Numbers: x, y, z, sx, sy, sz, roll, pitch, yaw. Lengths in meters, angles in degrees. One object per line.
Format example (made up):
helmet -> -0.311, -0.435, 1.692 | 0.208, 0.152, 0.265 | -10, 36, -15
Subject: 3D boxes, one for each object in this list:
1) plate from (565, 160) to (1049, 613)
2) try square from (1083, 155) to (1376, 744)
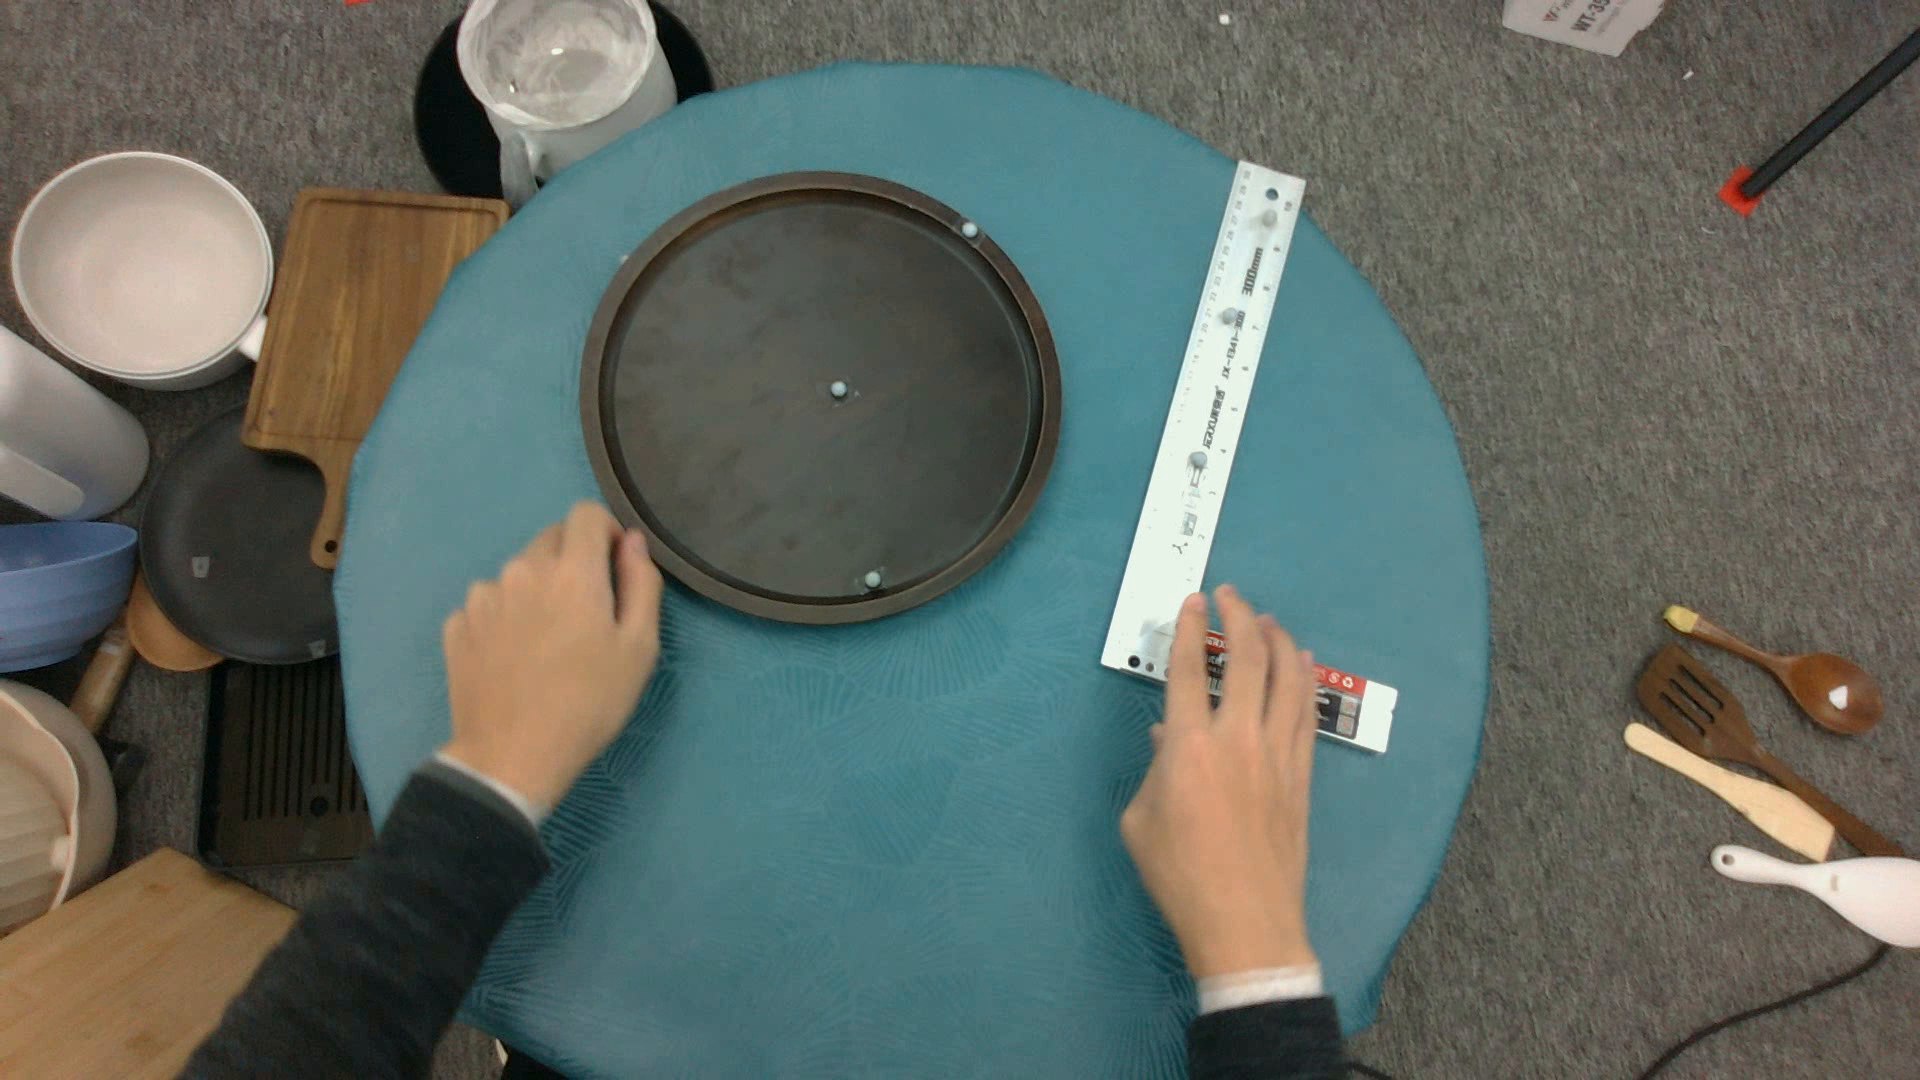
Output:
plate -> -0.079, -0.084, 0.729 | 0.255, 0.029, 0.255 | 2, 74, -5
try square -> 0.178, -0.059, 0.754 | 0.152, 0.016, 0.314 | 18, 73, 0
